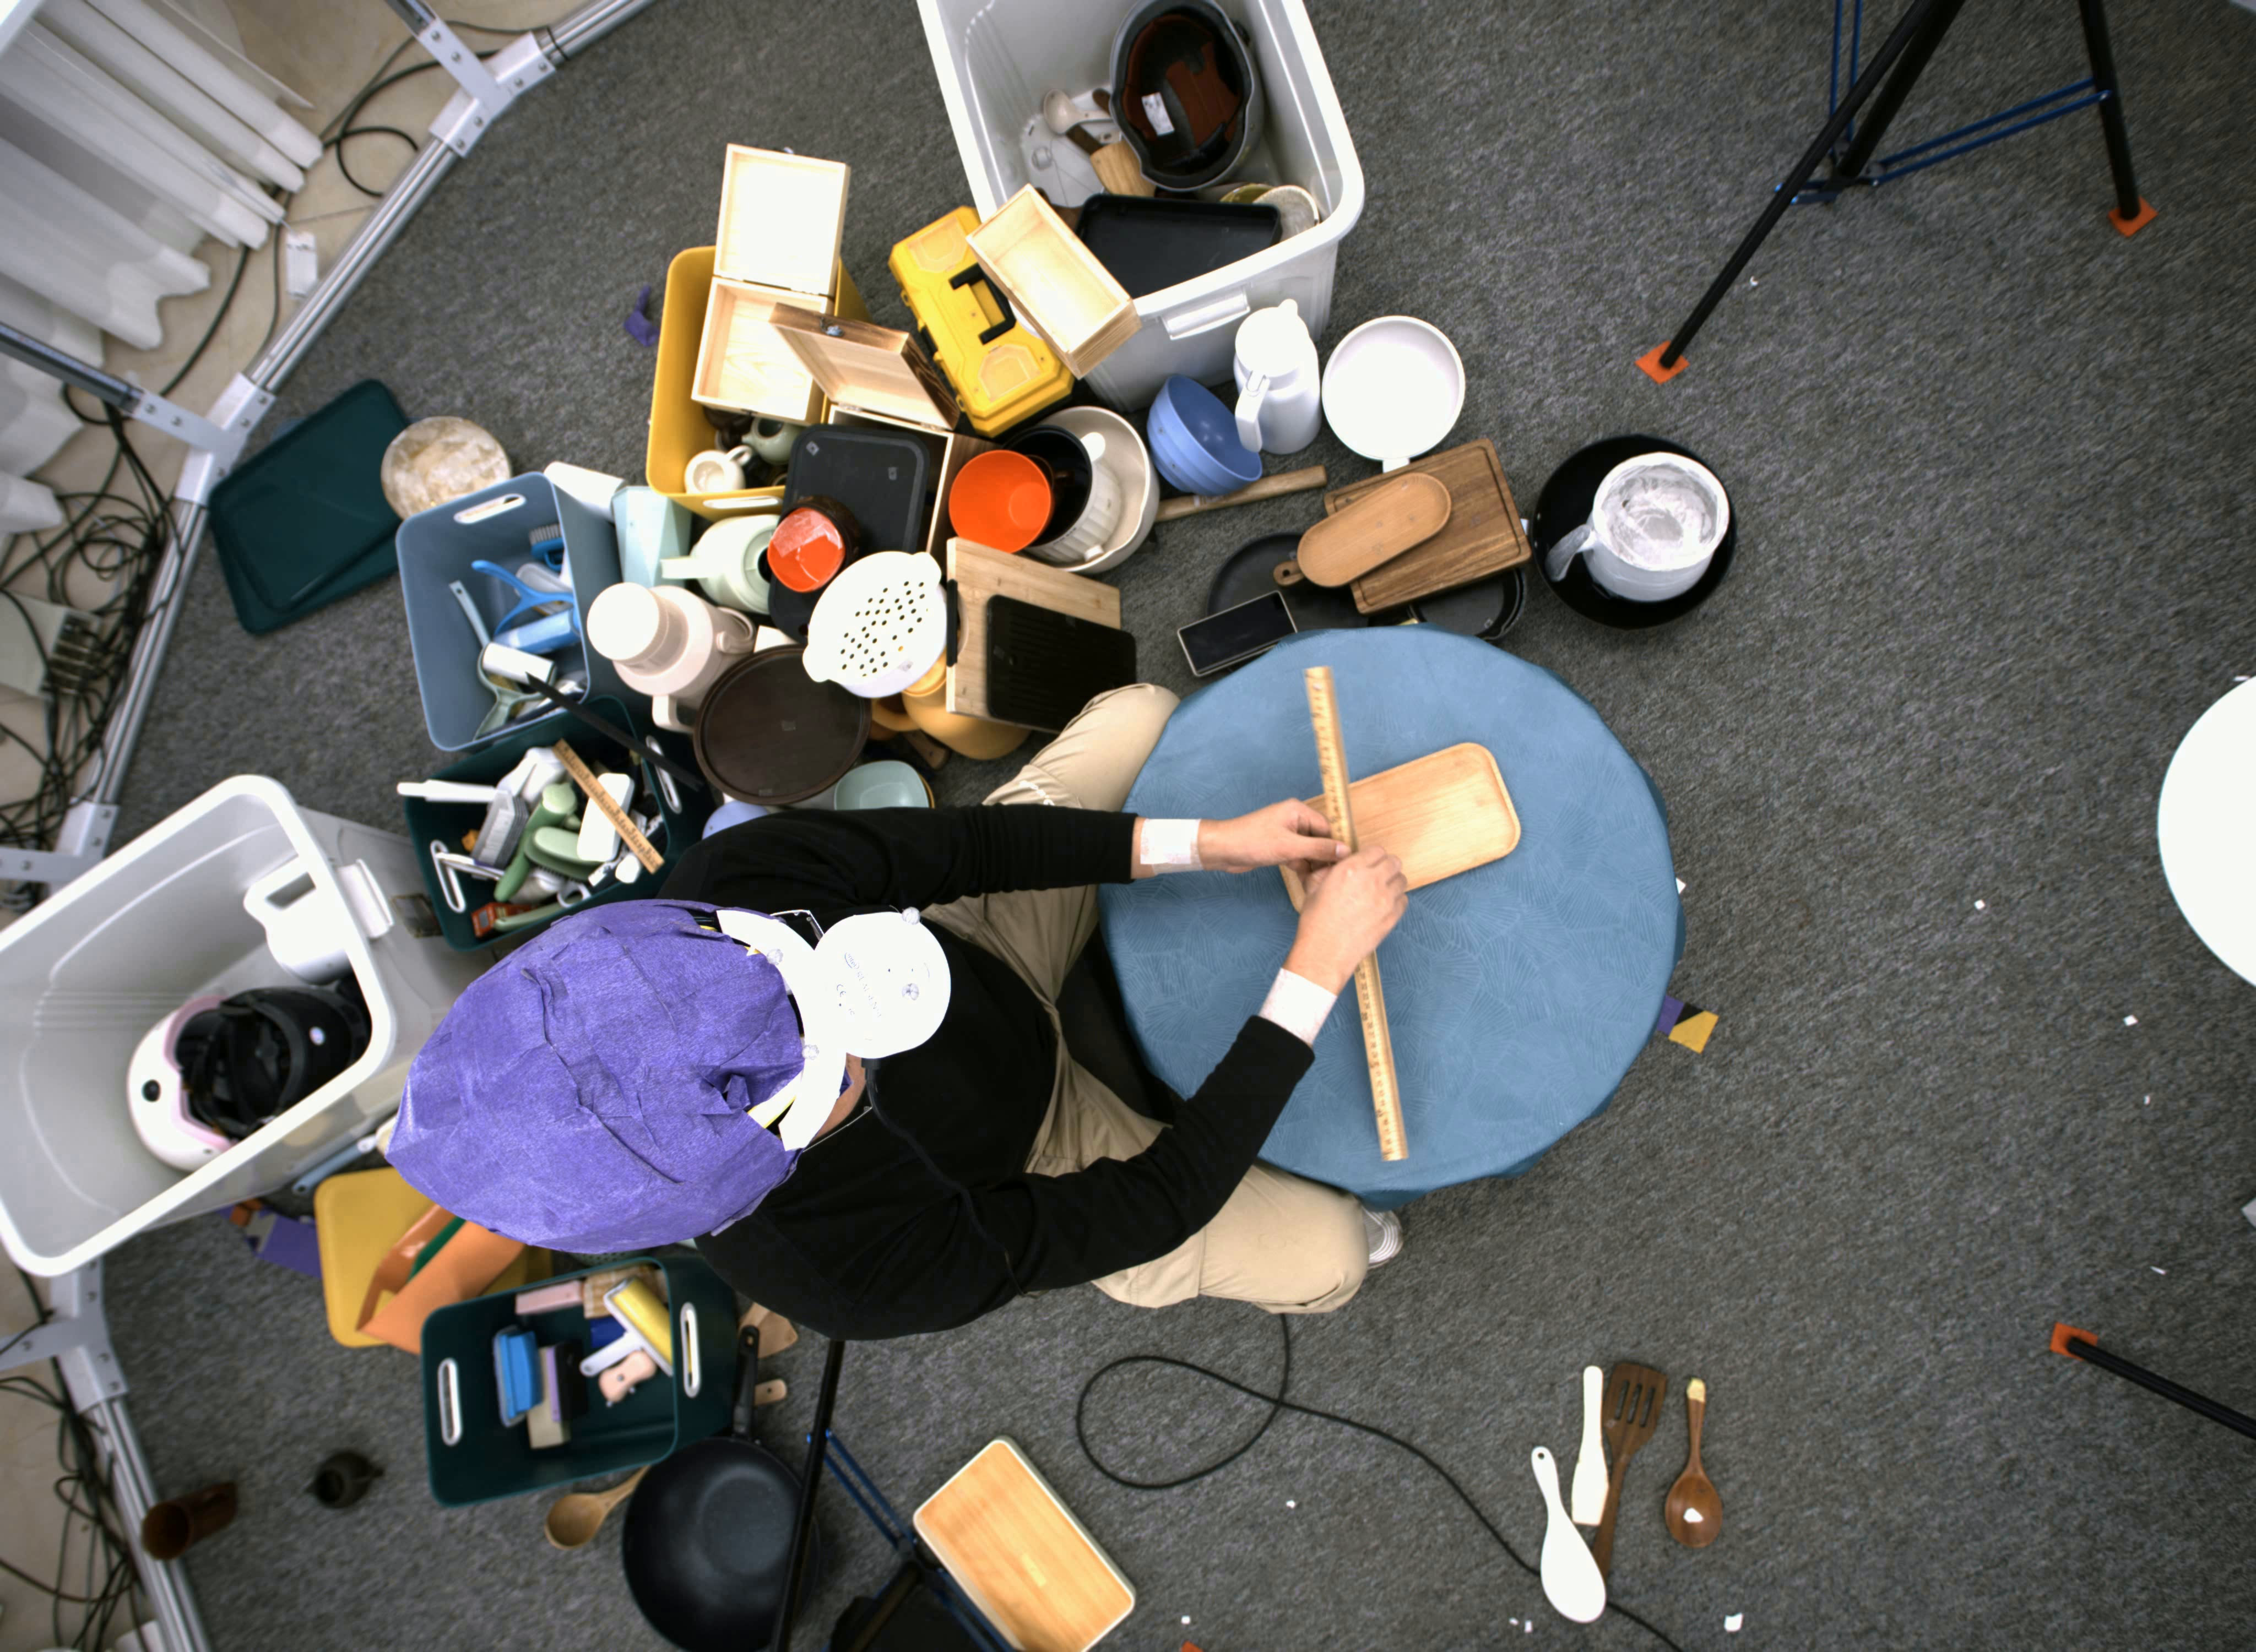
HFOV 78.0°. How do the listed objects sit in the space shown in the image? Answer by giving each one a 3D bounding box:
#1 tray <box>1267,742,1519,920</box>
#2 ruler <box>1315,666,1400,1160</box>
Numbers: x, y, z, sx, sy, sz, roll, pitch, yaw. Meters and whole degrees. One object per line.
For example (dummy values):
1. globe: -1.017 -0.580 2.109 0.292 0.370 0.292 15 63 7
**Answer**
1. tray: 0.278 0.005 1.454 0.252 0.023 0.129 -19 81 10
2. ruler: 0.229 0.091 1.374 0.027 0.006 0.503 -6 98 20
